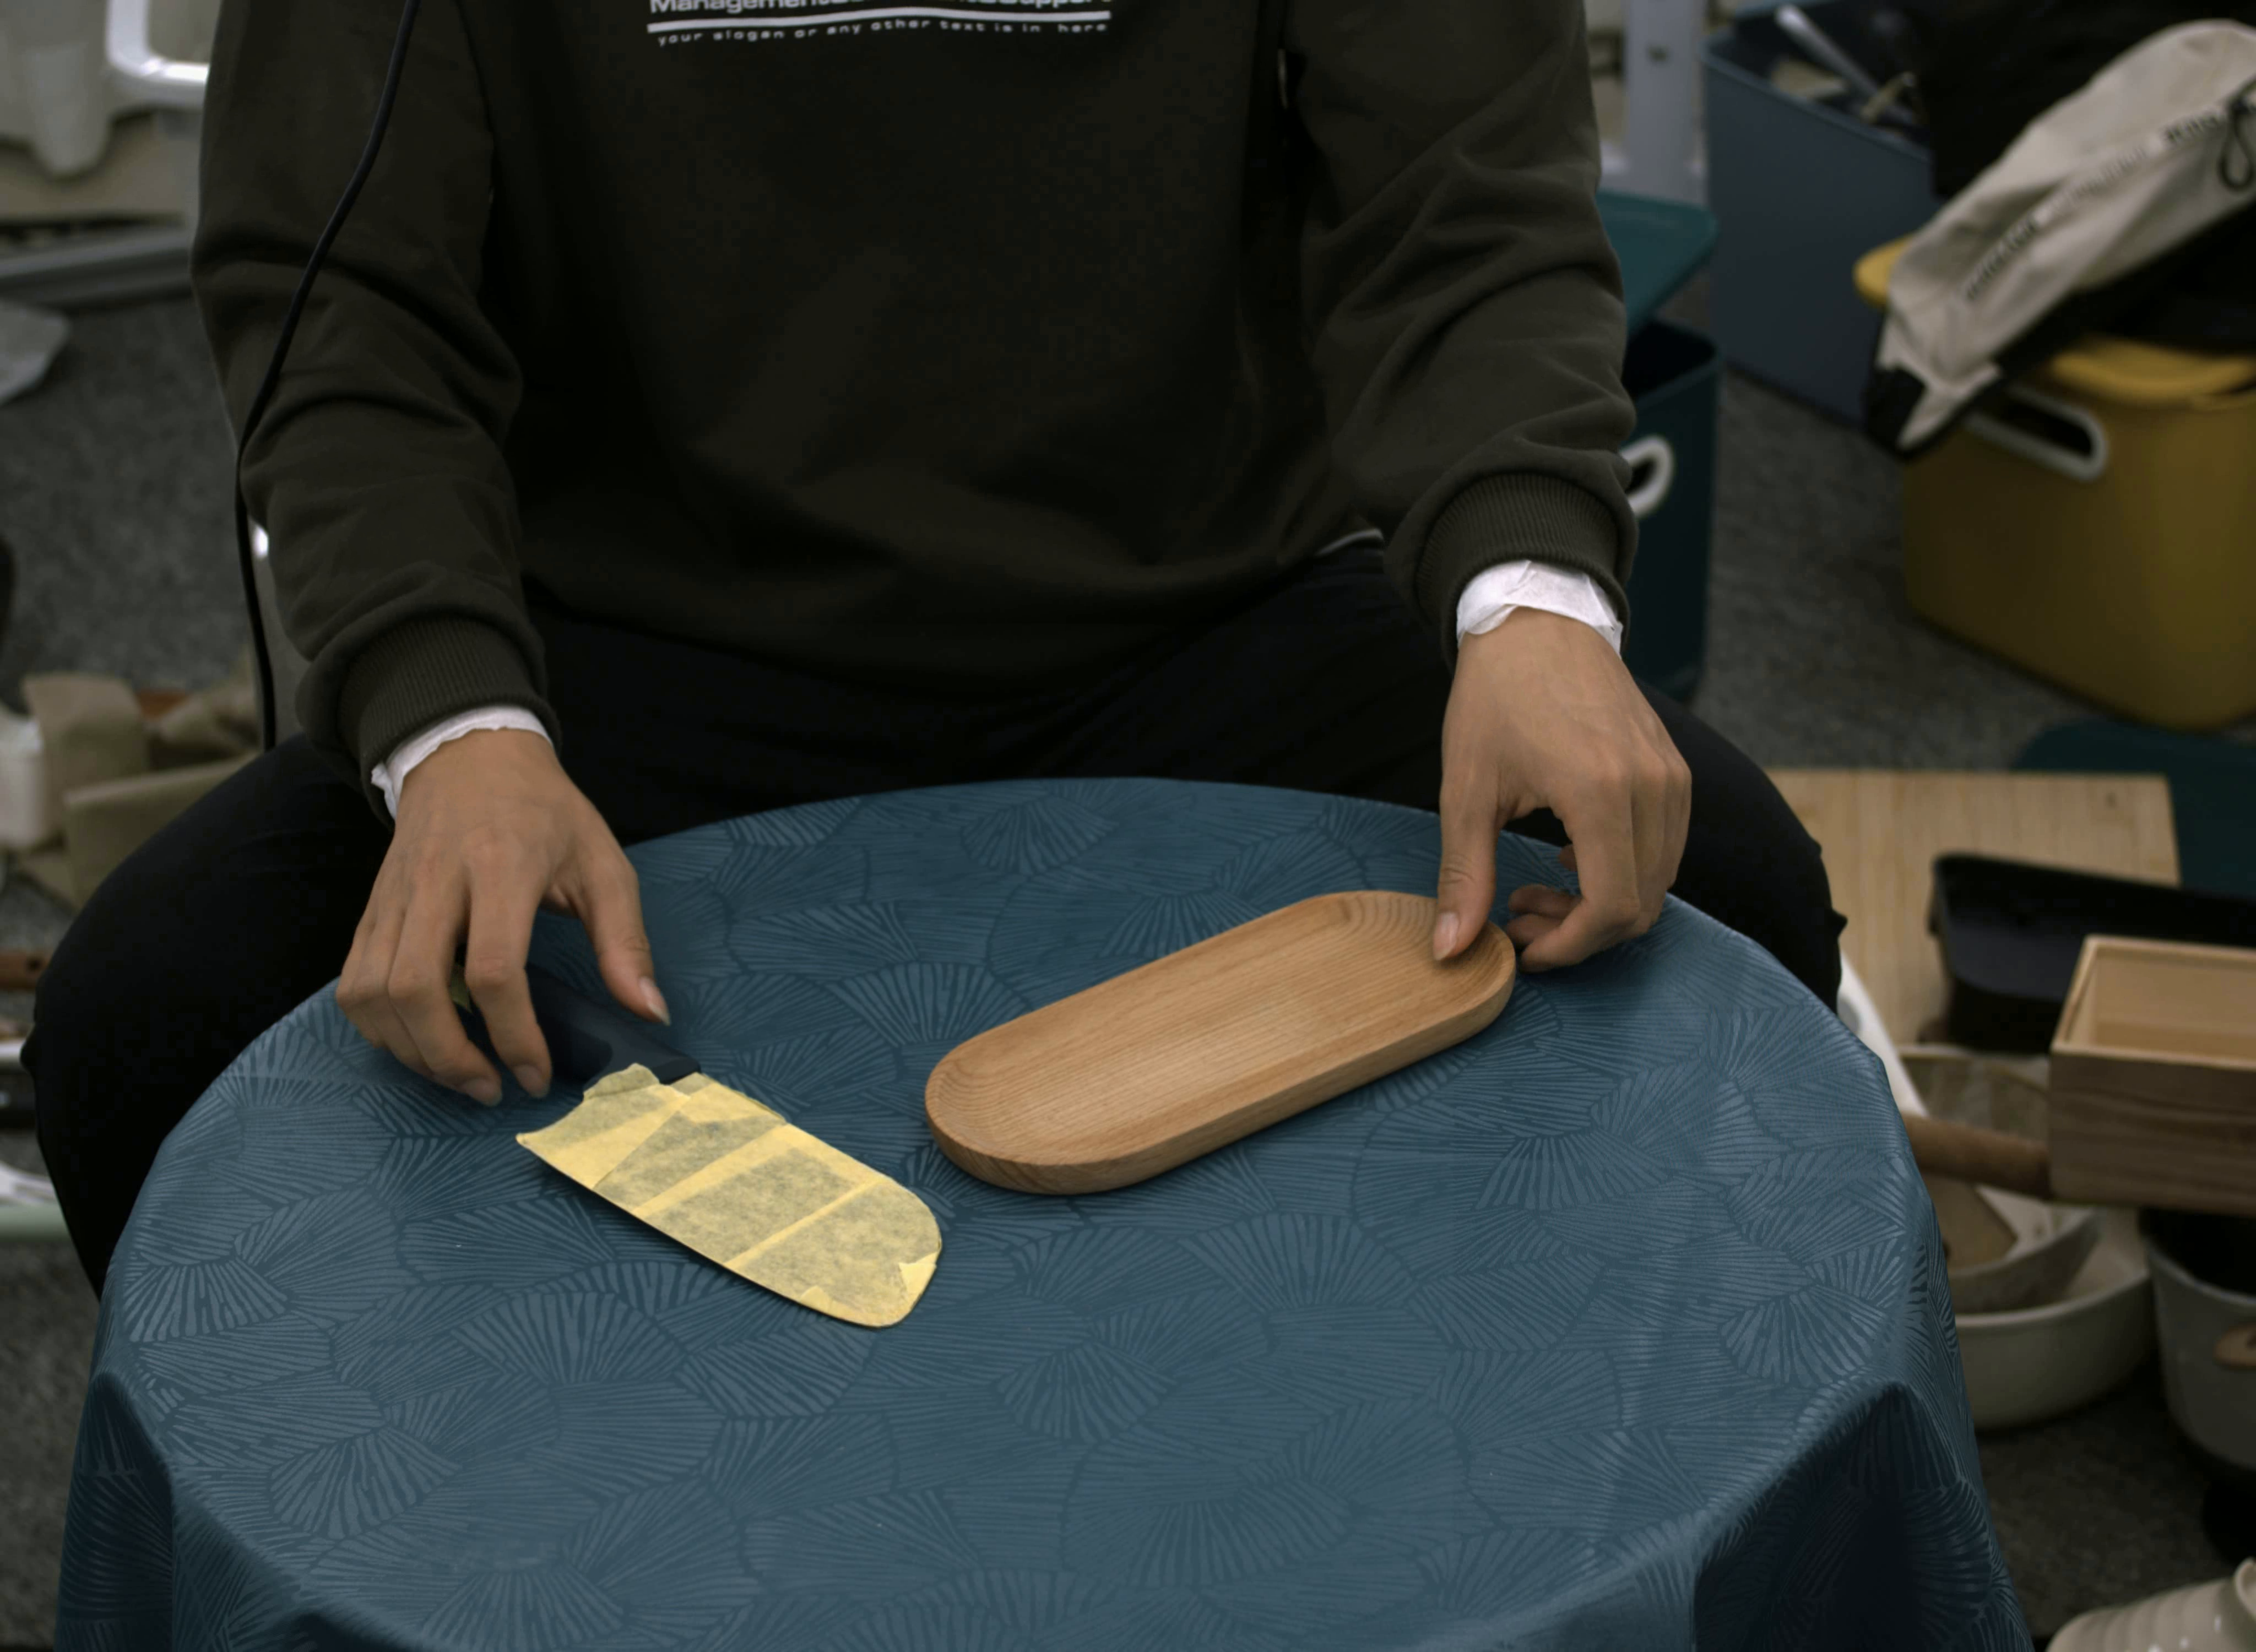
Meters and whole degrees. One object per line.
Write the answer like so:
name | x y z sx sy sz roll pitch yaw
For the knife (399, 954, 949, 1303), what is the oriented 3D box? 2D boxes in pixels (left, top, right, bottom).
knife | -0.163 0.103 1.896 0.082 0.027 0.289 -22 34 -37

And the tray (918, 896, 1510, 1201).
tray | 0.031 0.076 1.930 0.233 0.020 0.102 -23 32 -32
